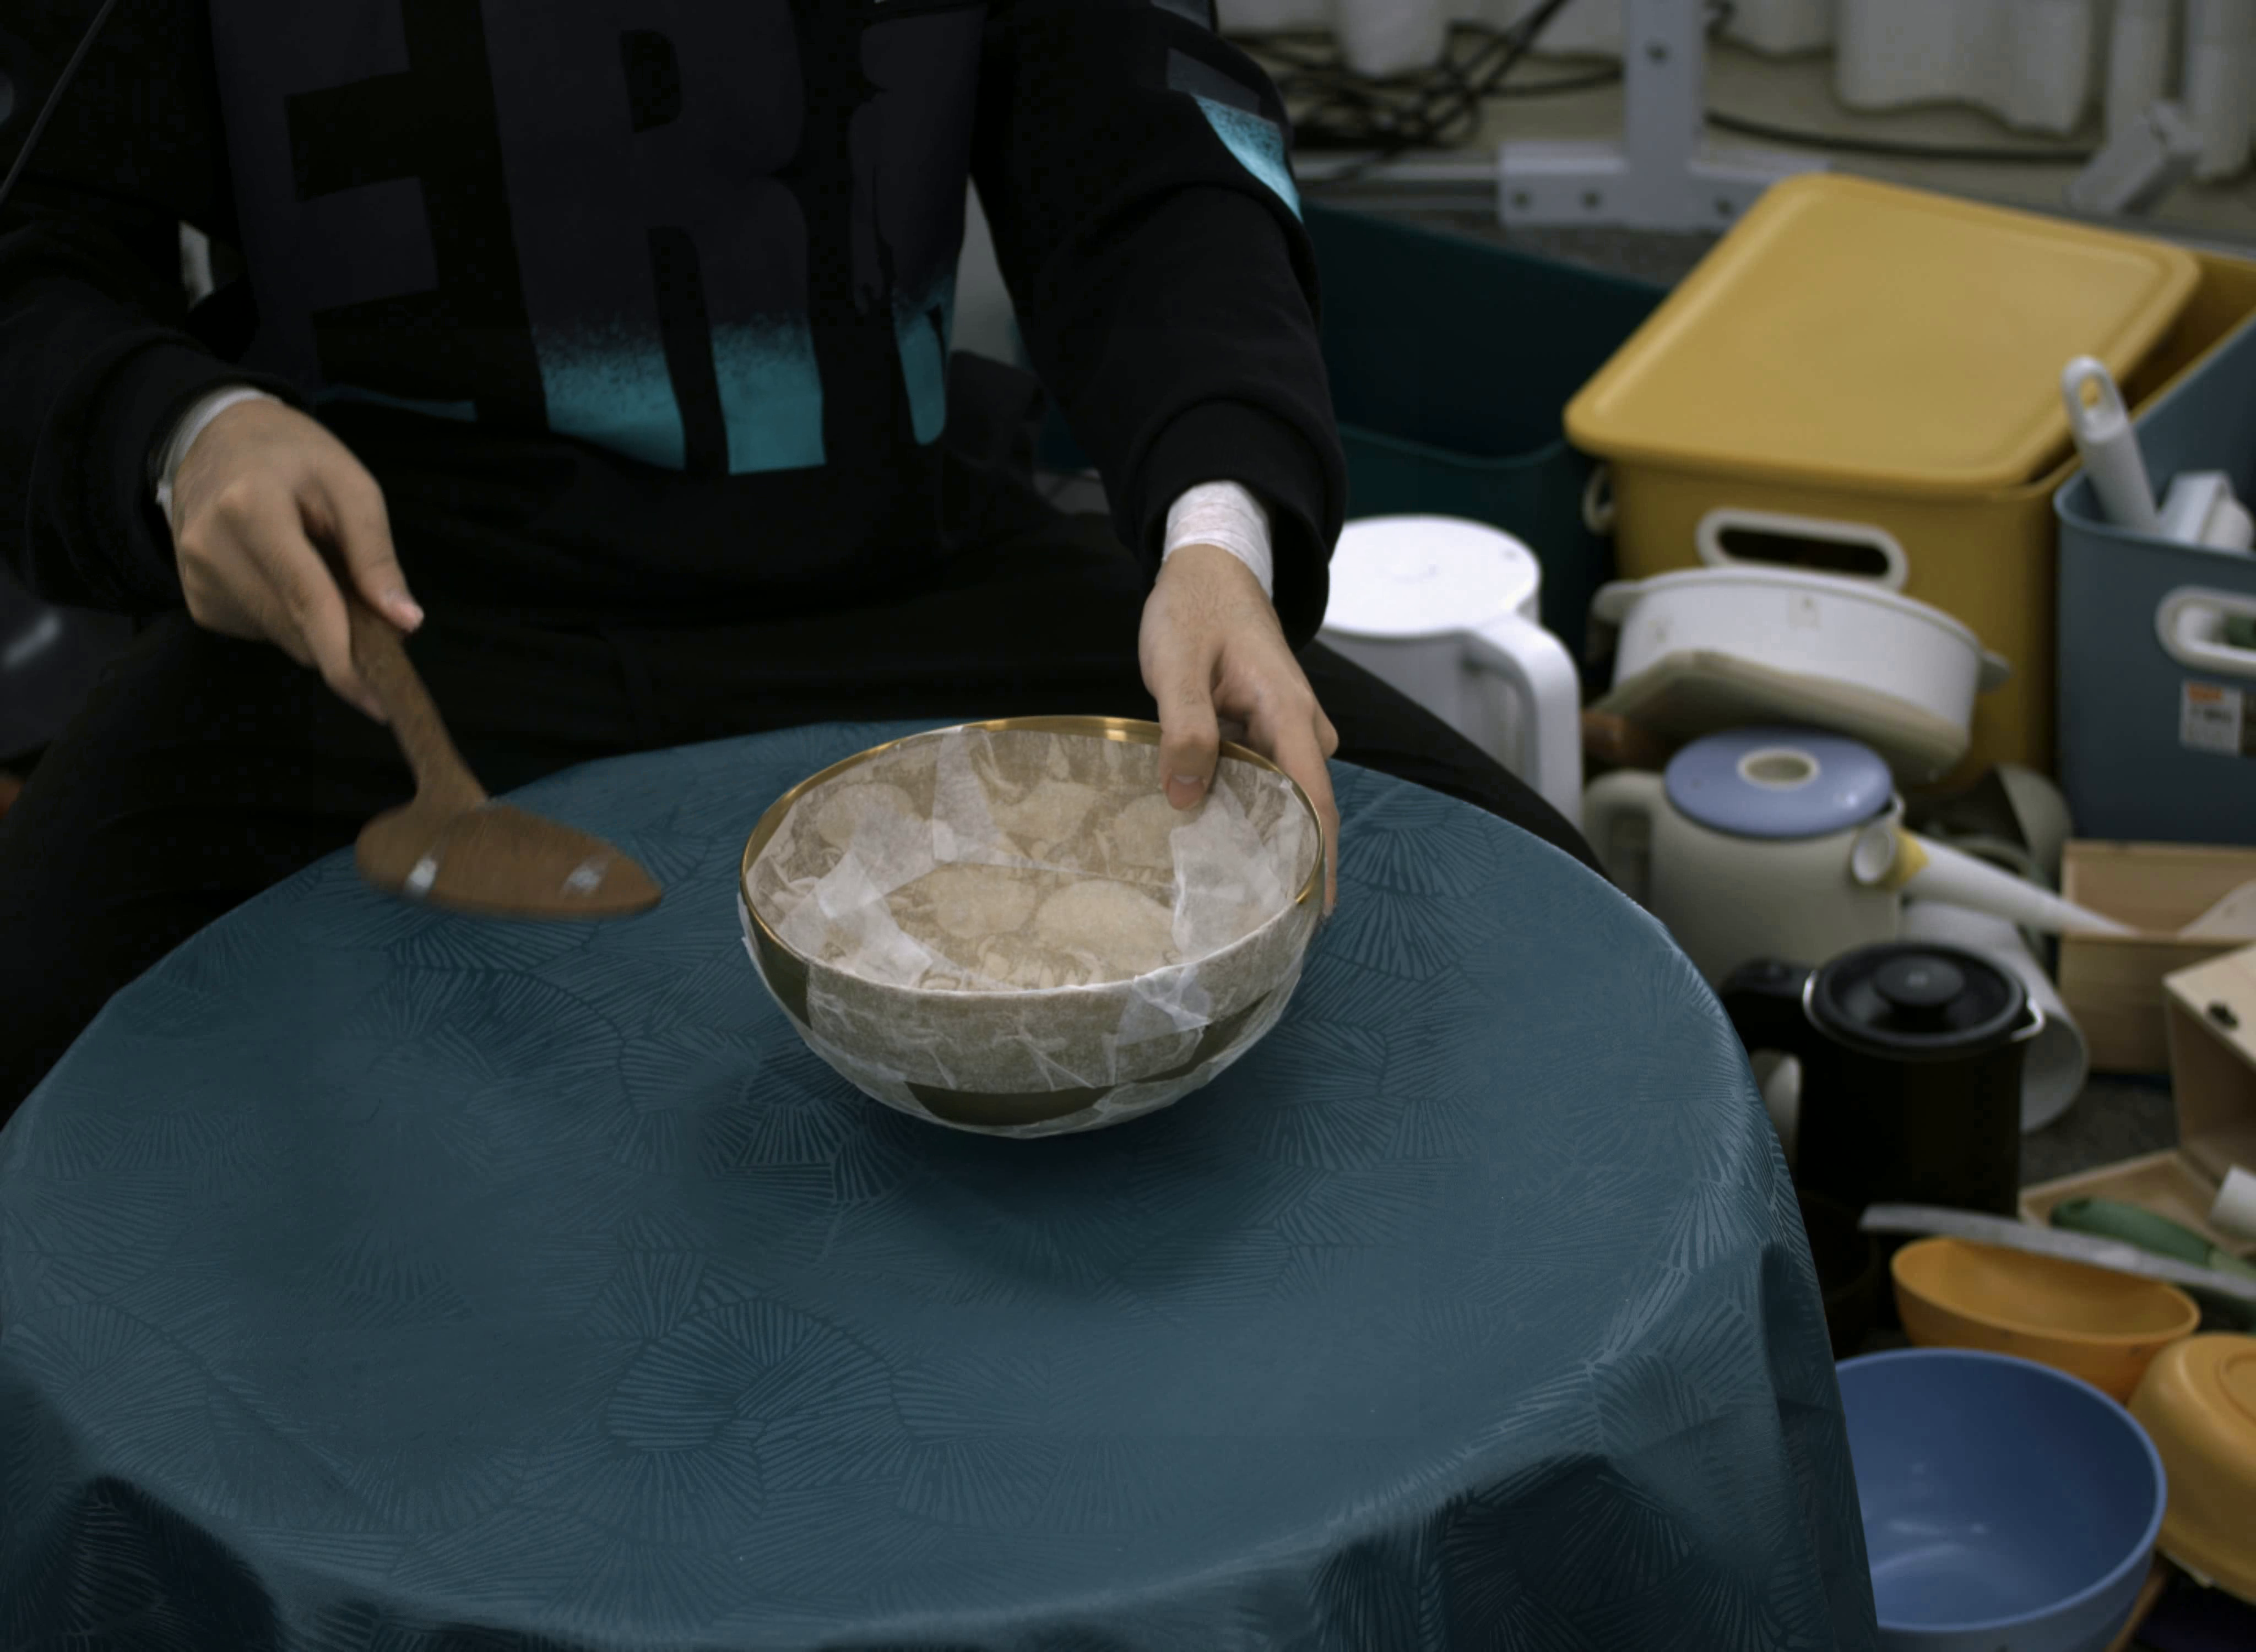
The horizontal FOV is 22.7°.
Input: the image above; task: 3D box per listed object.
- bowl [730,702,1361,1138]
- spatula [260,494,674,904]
[{"bbox_3d":[-0.027,0.044,1.911,0.213,0.093,0.218,-3,26,2],"label":"bowl"},{"bbox_3d":[-0.245,-0.049,1.909,0.096,0.015,0.389,5,20,-23],"label":"spatula"}]
